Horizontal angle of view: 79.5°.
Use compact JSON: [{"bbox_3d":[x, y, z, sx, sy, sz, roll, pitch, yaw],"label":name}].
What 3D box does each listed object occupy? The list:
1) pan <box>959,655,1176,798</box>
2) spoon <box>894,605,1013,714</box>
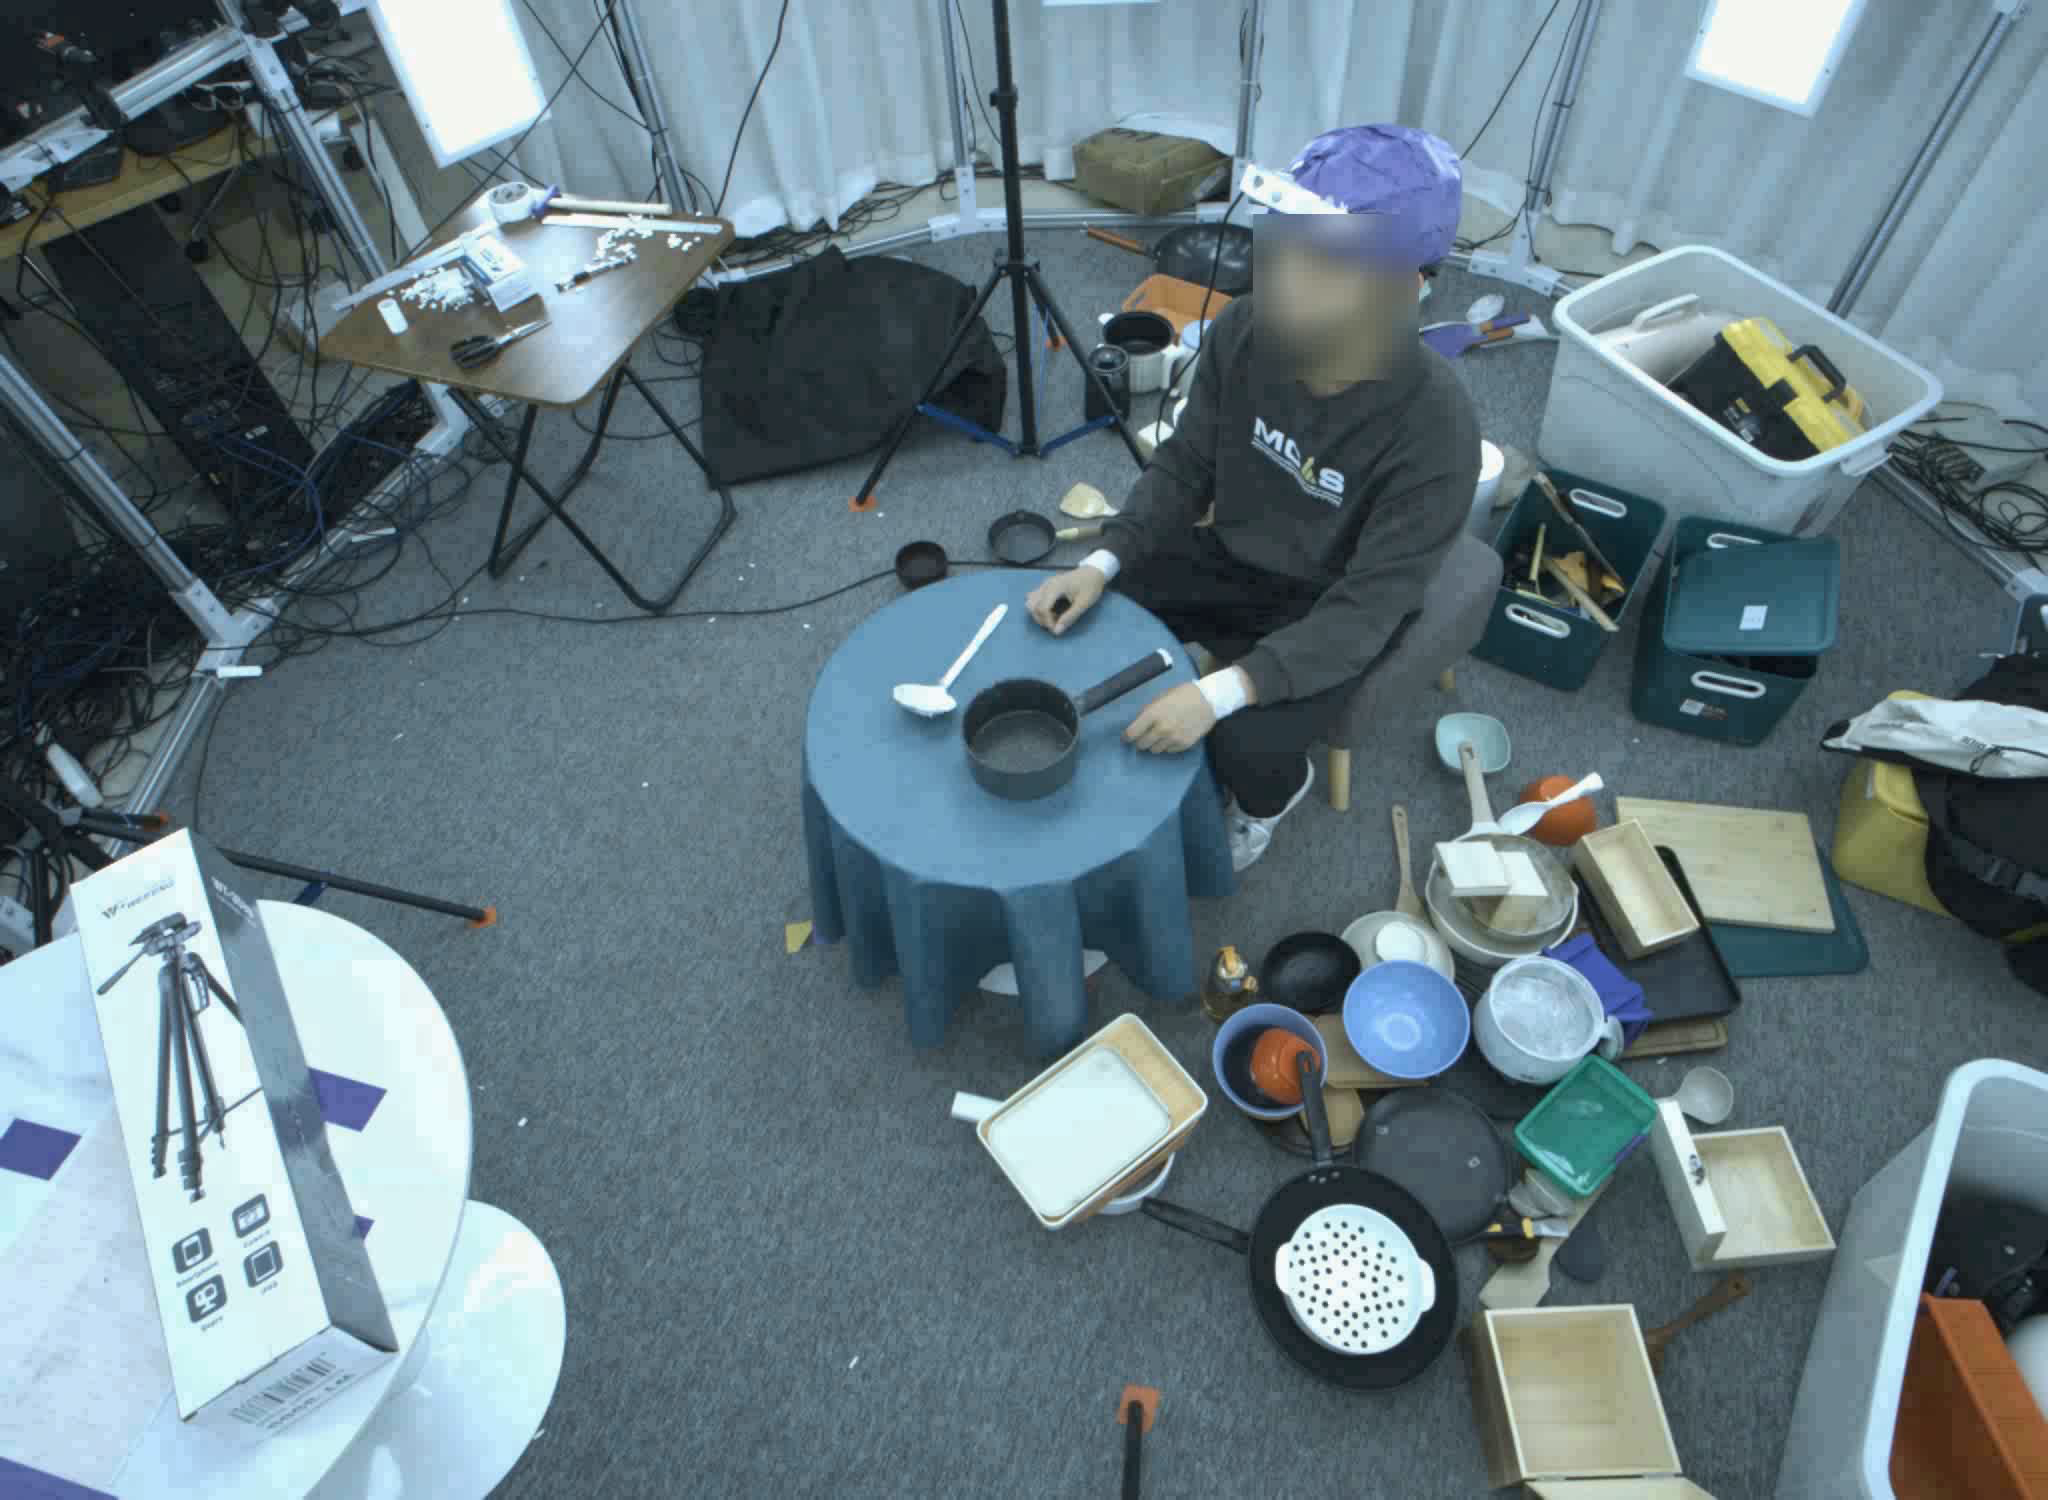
[{"bbox_3d":[0.067,-0.047,1.776,0.331,0.087,0.169,-22,58,-13],"label":"pan"},{"bbox_3d":[-0.092,-0.146,1.867,0.099,0.060,0.278,27,59,17],"label":"spoon"}]
